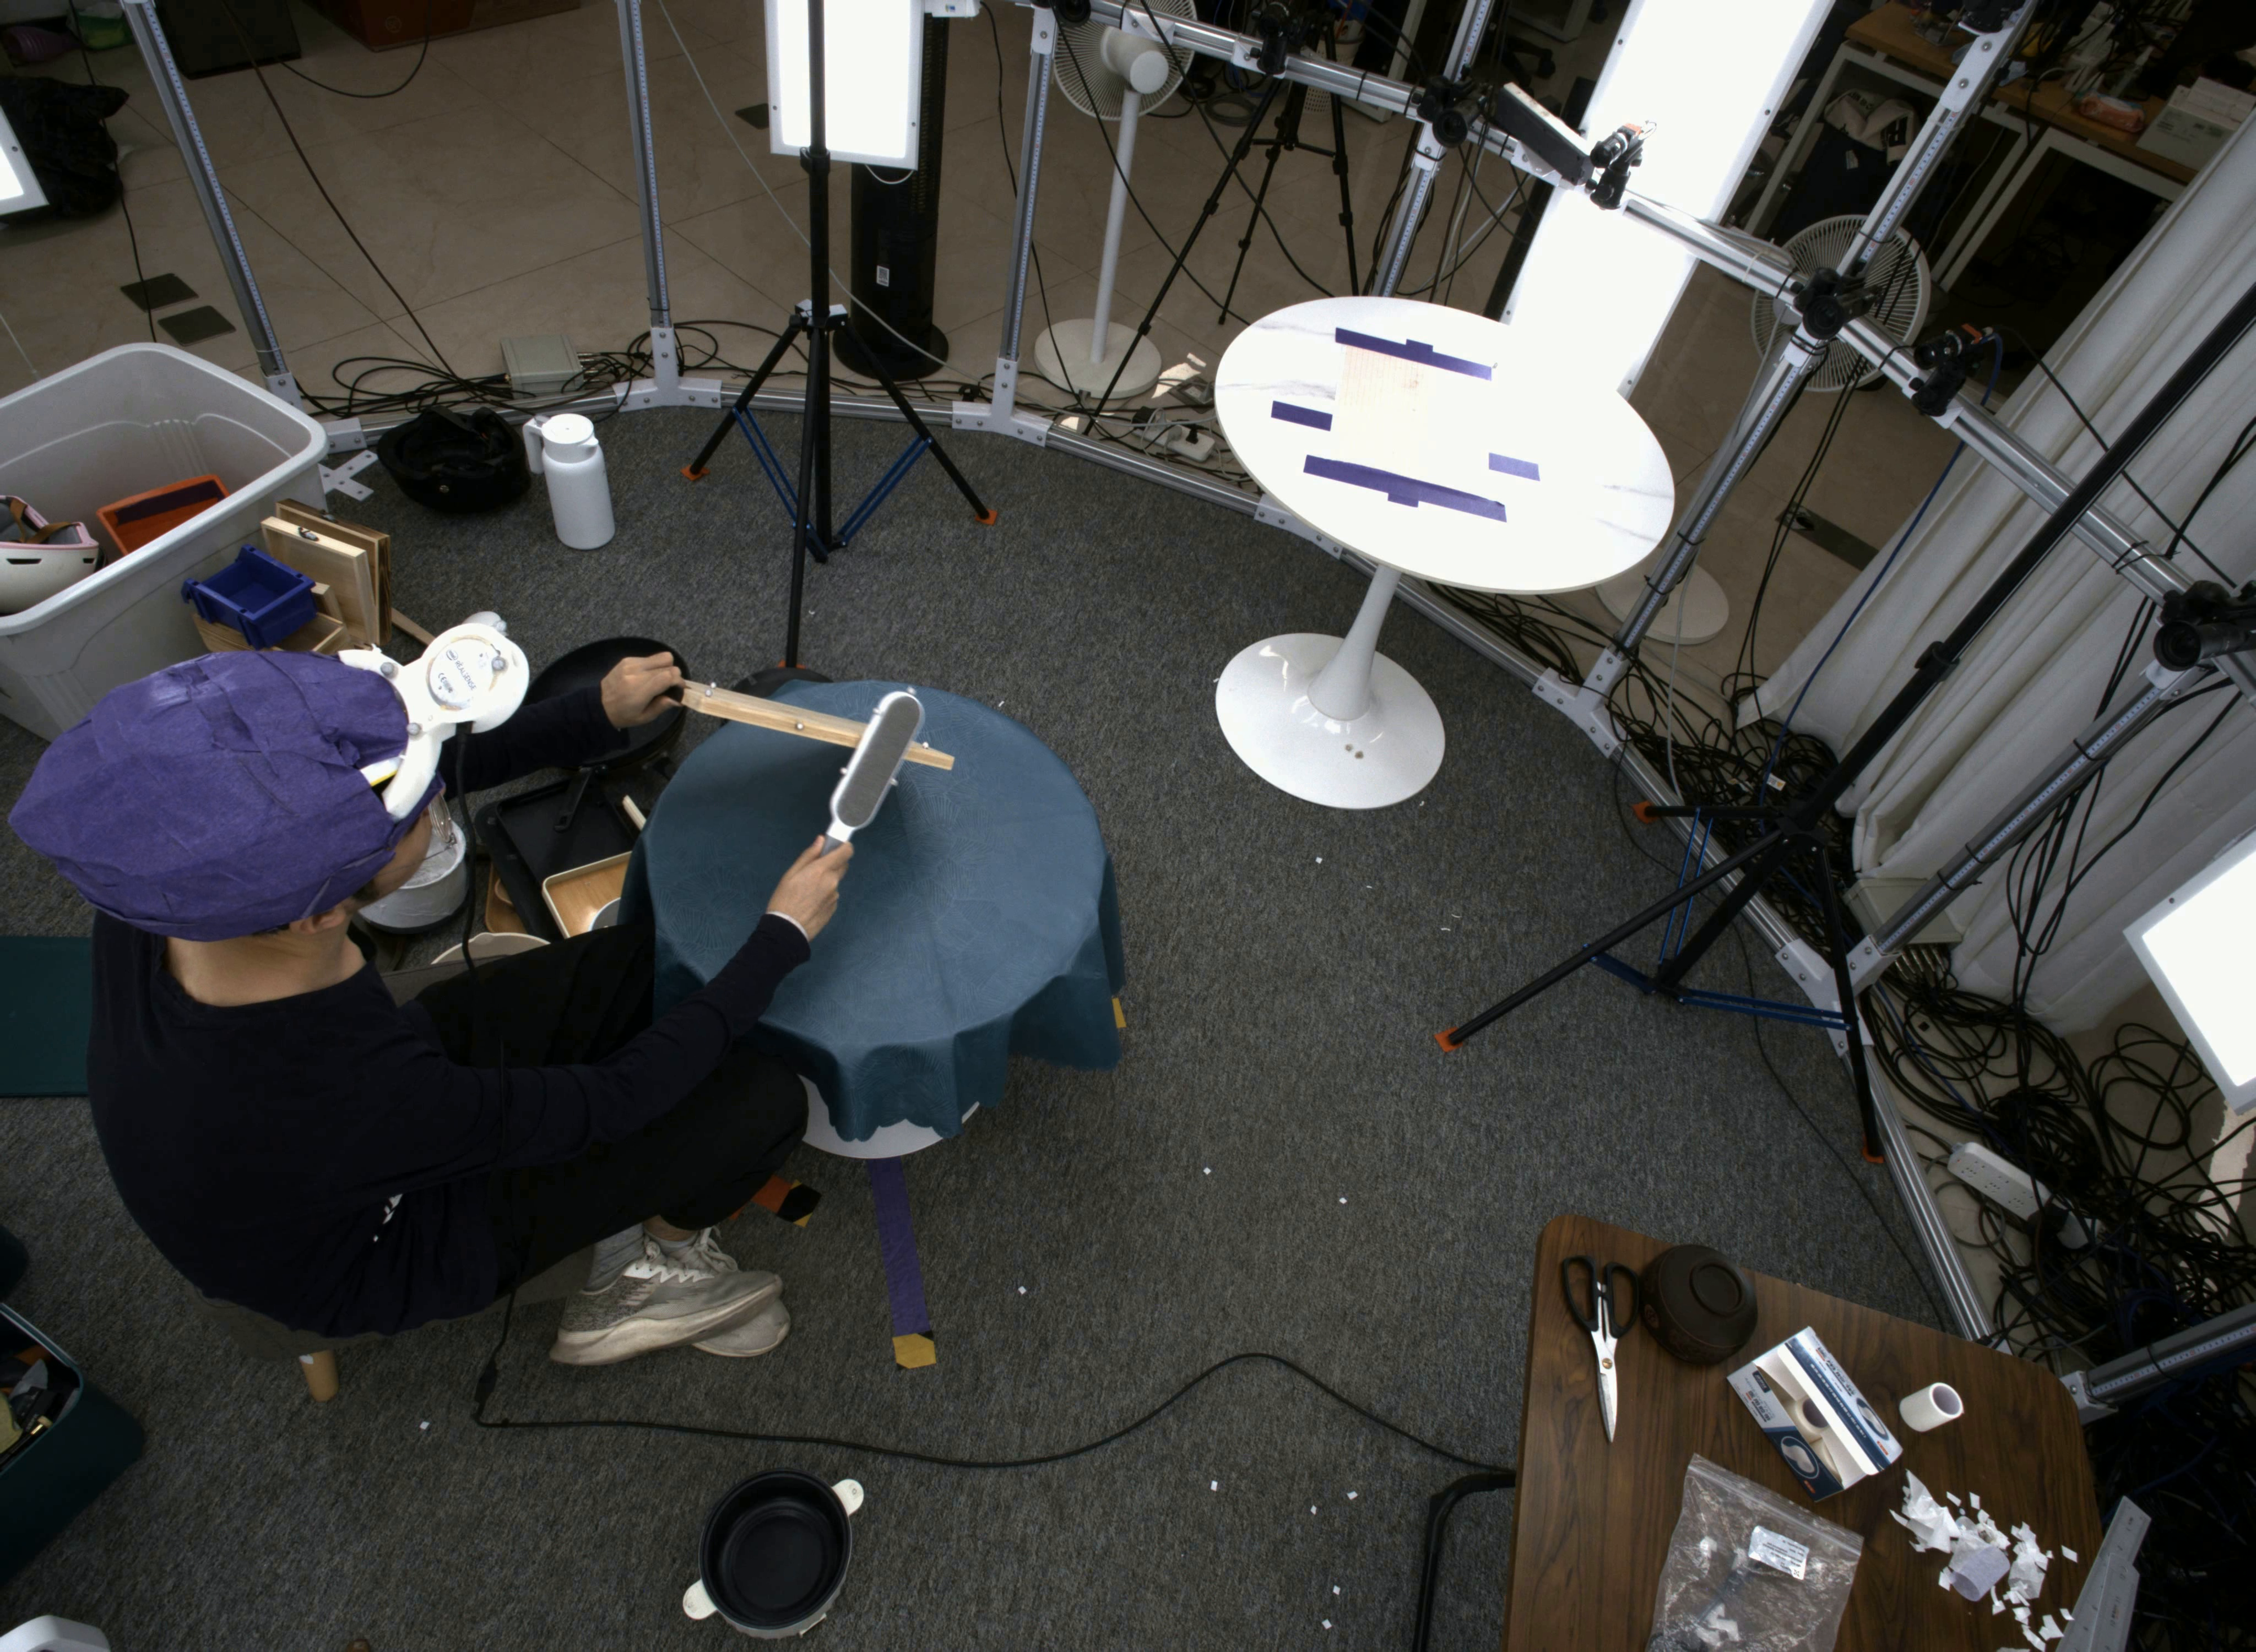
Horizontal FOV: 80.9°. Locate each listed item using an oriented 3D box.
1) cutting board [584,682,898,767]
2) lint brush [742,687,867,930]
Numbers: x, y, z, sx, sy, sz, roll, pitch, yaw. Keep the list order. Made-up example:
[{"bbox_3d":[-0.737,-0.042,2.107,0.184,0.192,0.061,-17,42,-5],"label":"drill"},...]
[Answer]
[{"bbox_3d":[-0.490,-0.129,1.618,0.357,0.024,0.241,11,4,-43],"label":"cutting board"},{"bbox_3d":[-0.393,-0.022,1.556,0.020,0.062,0.310,18,83,43],"label":"lint brush"}]
